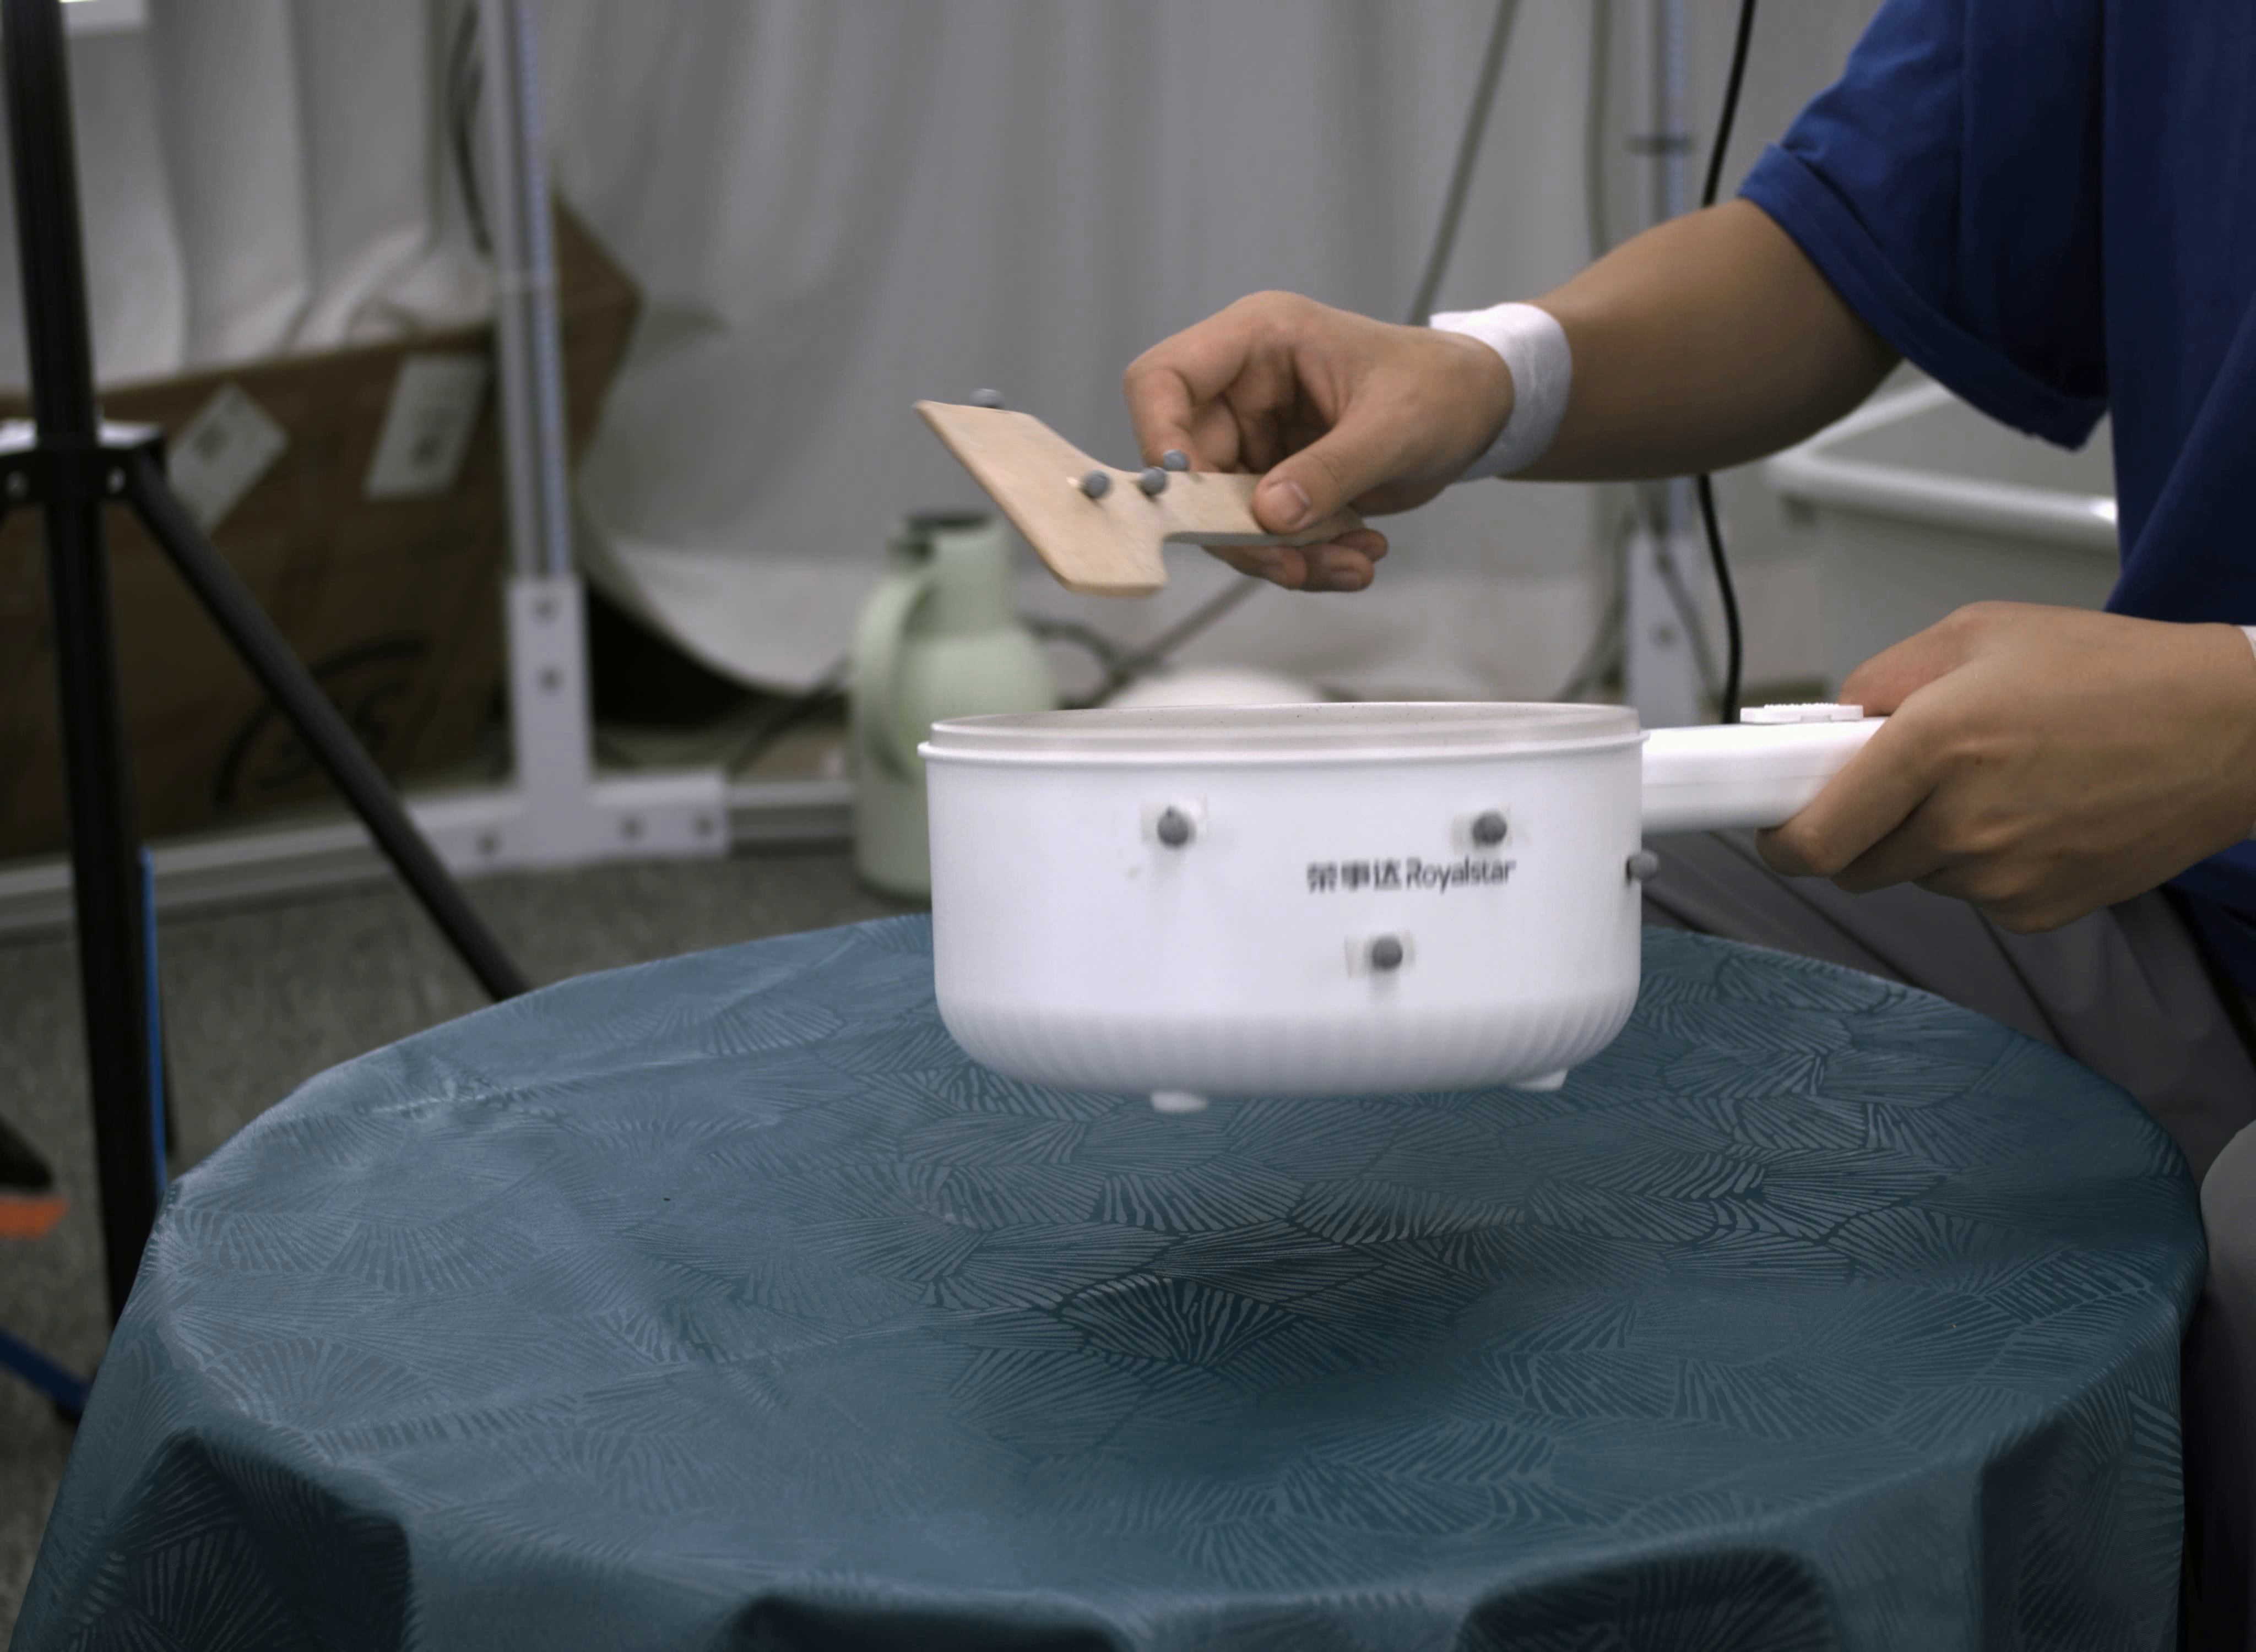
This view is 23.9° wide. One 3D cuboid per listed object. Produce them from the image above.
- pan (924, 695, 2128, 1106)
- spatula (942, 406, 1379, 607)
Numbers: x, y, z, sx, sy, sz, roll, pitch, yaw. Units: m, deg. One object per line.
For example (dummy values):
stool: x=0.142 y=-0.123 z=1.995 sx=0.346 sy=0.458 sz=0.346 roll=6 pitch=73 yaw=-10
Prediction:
pan: x=0.117 y=0.018 z=1.480 sx=0.348 sy=0.102 sz=0.204 roll=-2 pitch=1 yaw=-19
spatula: x=0.019 y=-0.096 z=1.611 sx=0.011 sy=0.073 sz=0.288 roll=-43 pitch=-13 yaw=19
